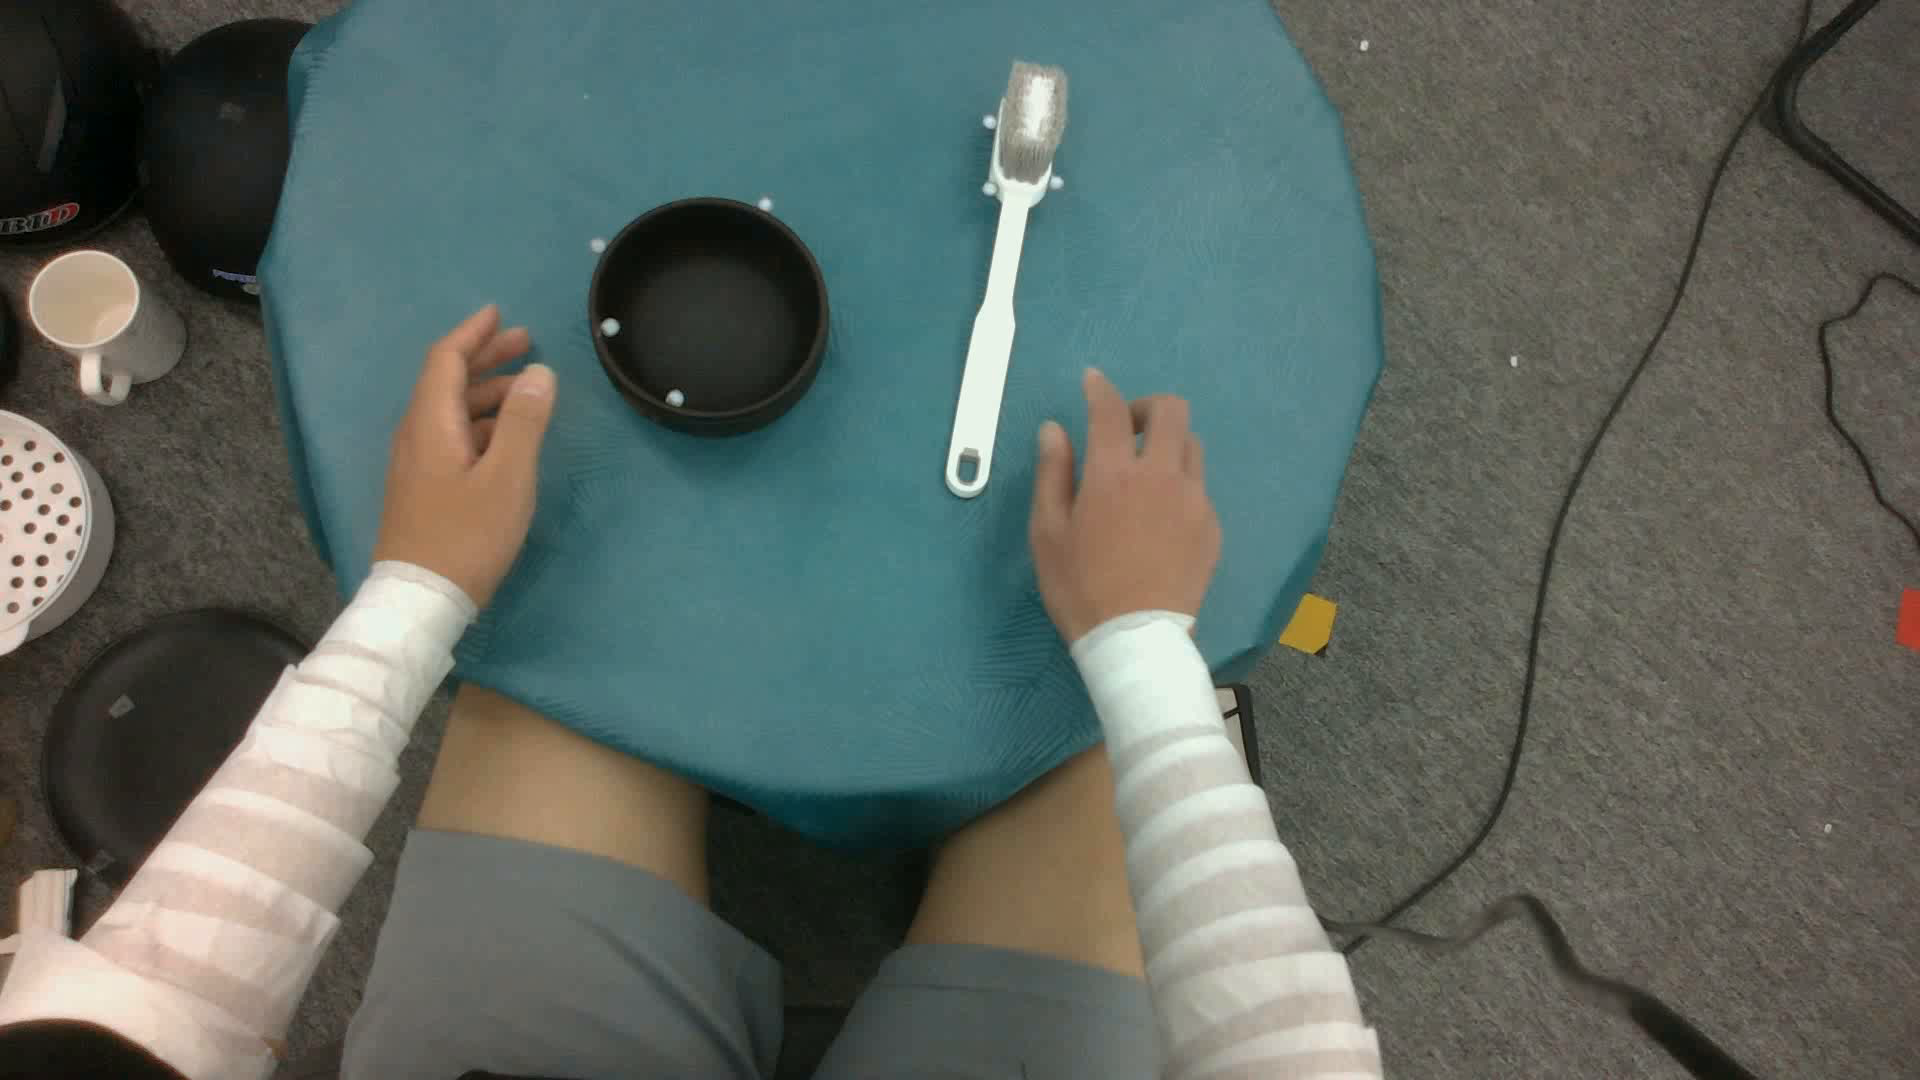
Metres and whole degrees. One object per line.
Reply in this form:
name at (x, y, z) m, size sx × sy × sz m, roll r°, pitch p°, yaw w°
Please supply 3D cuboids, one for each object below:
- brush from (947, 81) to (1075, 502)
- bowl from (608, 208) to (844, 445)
brush at (0.028, -0.141, 0.755) m, size 0.034 × 0.050 × 0.244 m, roll 12°, pitch 75°, yaw -4°
bowl at (-0.120, -0.105, 0.714) m, size 0.118 × 0.069 × 0.118 m, roll 2°, pitch 79°, yaw -9°
